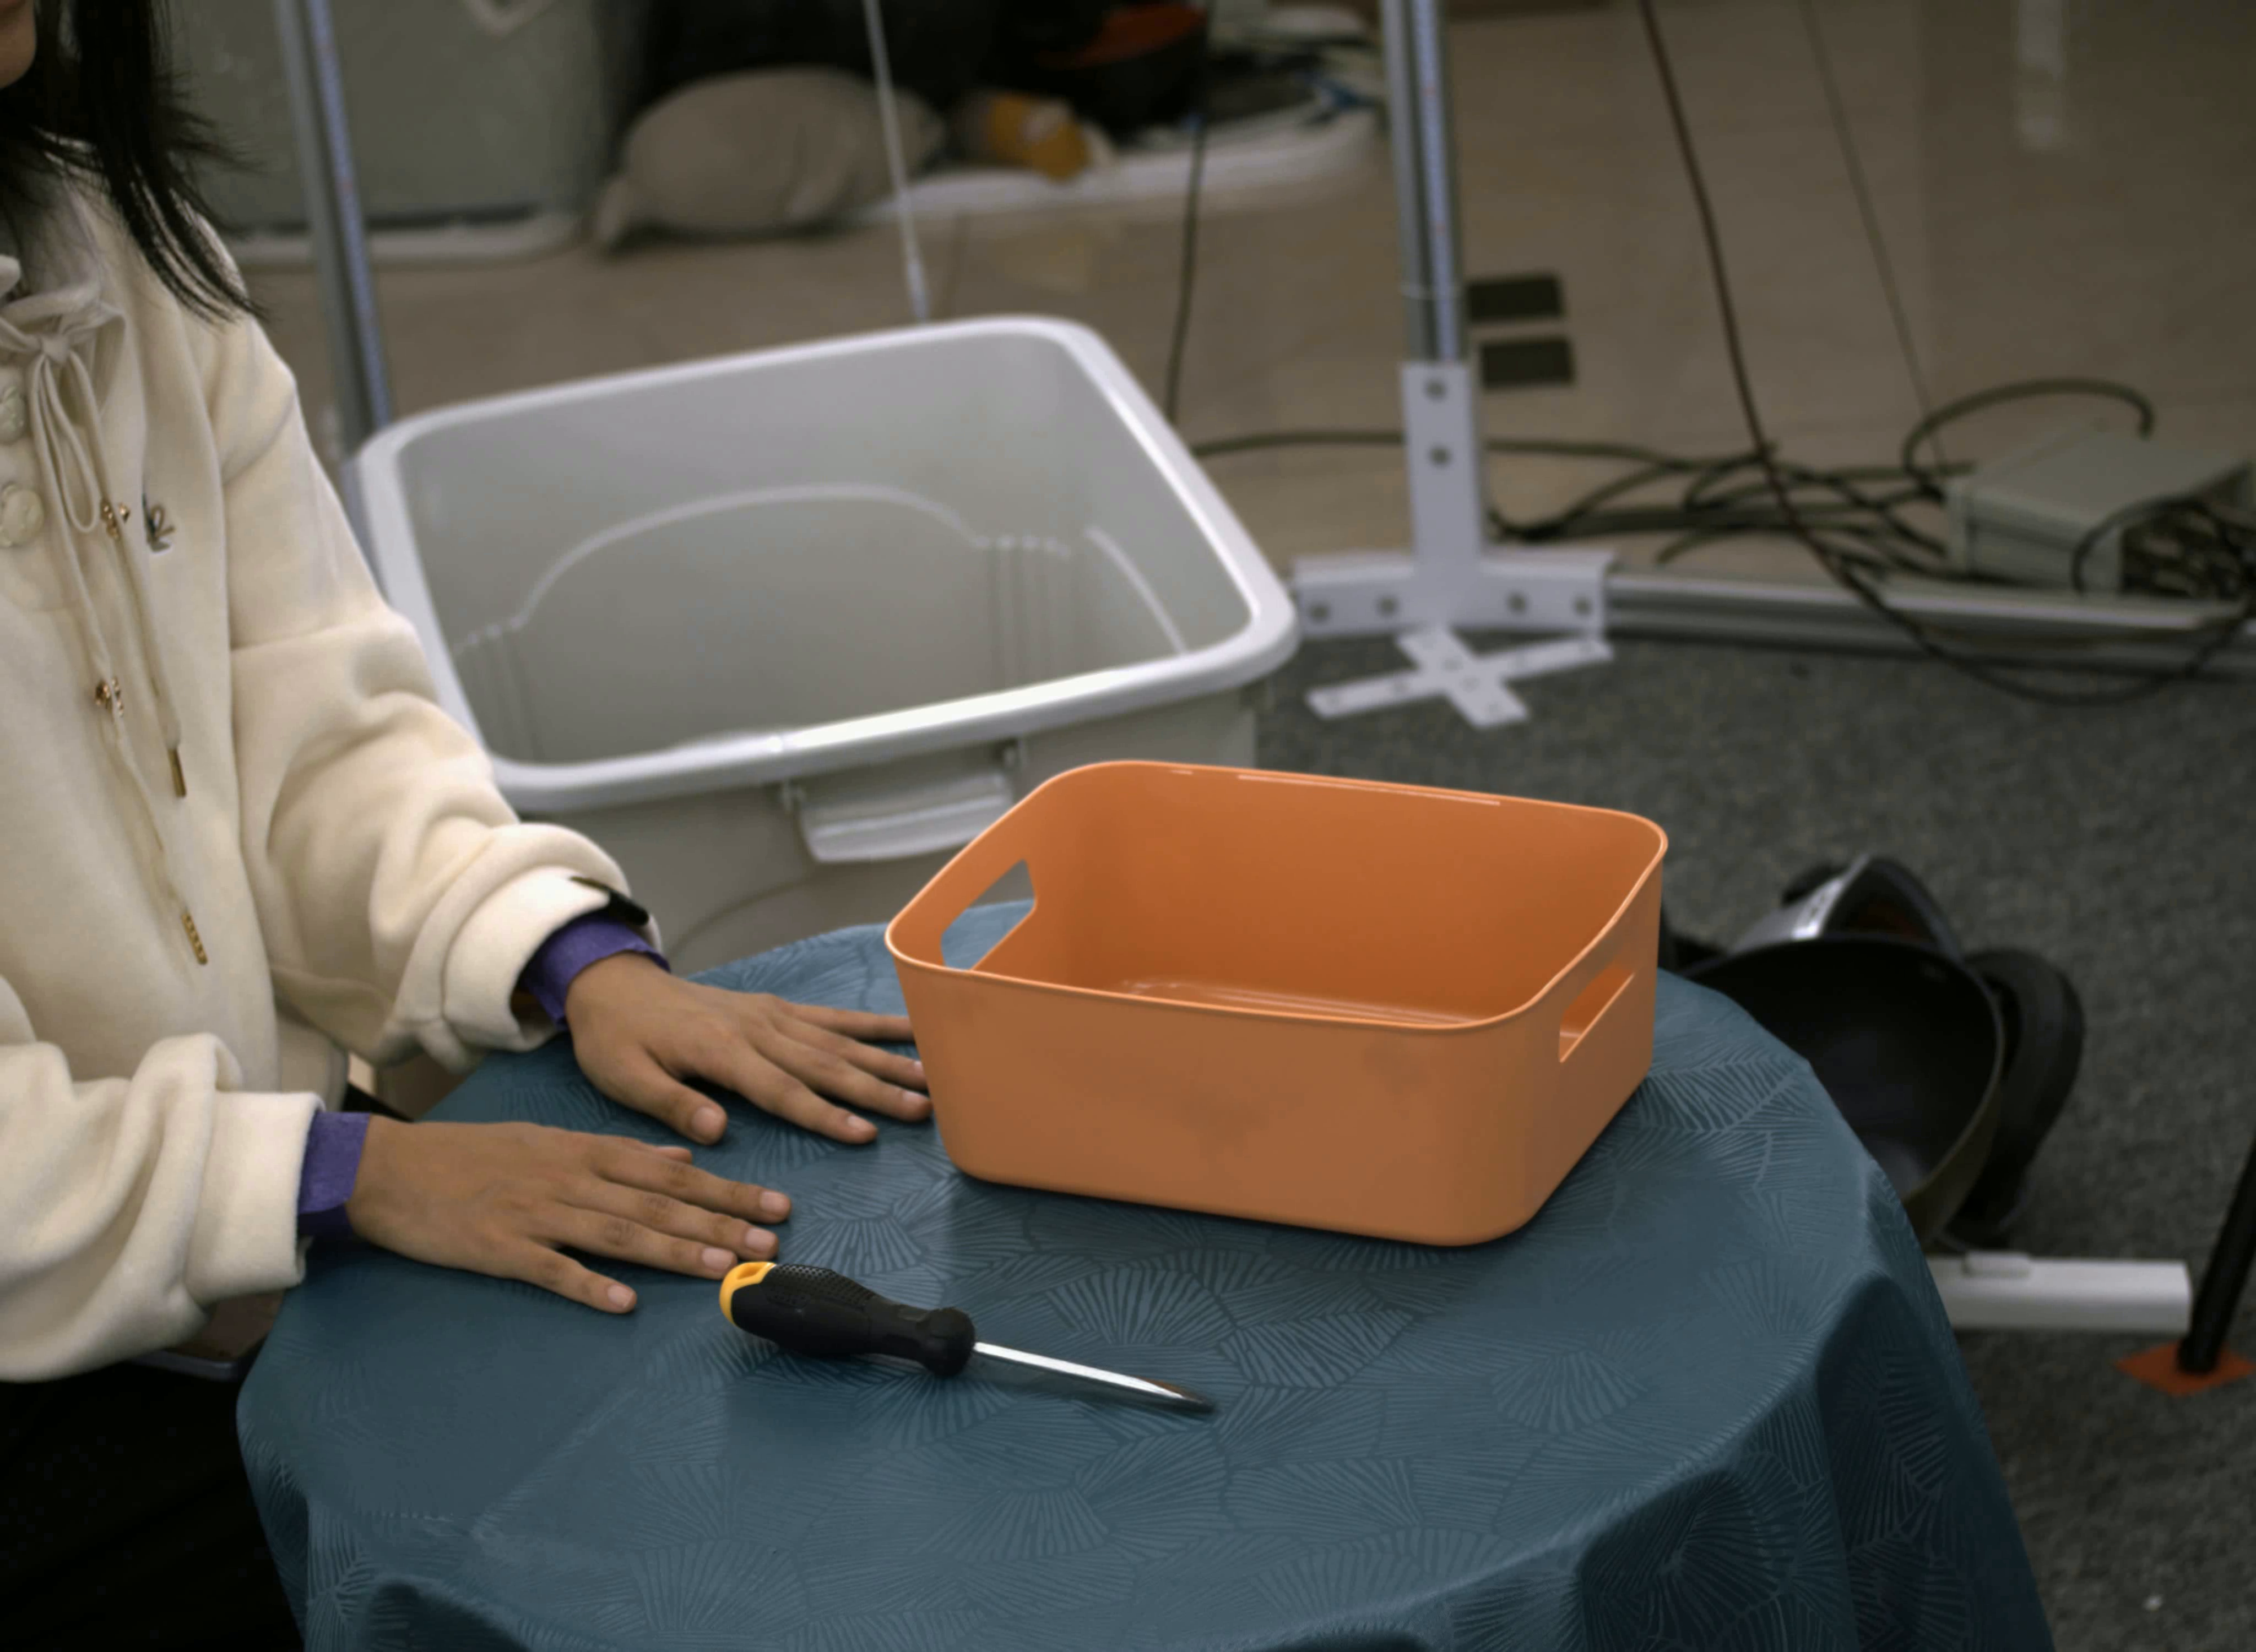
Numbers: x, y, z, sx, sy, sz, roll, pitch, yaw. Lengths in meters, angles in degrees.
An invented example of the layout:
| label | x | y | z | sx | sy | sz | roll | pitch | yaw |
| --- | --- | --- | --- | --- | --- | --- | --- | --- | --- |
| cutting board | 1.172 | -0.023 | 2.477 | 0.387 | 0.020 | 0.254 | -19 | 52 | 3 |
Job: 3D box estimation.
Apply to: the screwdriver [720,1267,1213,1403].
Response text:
| label | x | y | z | sx | sy | sz | roll | pitch | yaw |
| --- | --- | --- | --- | --- | --- | --- | --- | --- | --- |
| screwdriver | -0.061 | 0.188 | 2.033 | 0.197 | 0.032 | 0.031 | 11 | 30 | 28 |

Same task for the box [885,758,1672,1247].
| label | x | y | z | sx | sy | sz | roll | pitch | yaw |
| --- | --- | --- | --- | --- | --- | --- | --- | --- | --- |
| box | 0.062 | 0.066 | 2.164 | 0.272 | 0.104 | 0.197 | 7 | 29 | 25 |
